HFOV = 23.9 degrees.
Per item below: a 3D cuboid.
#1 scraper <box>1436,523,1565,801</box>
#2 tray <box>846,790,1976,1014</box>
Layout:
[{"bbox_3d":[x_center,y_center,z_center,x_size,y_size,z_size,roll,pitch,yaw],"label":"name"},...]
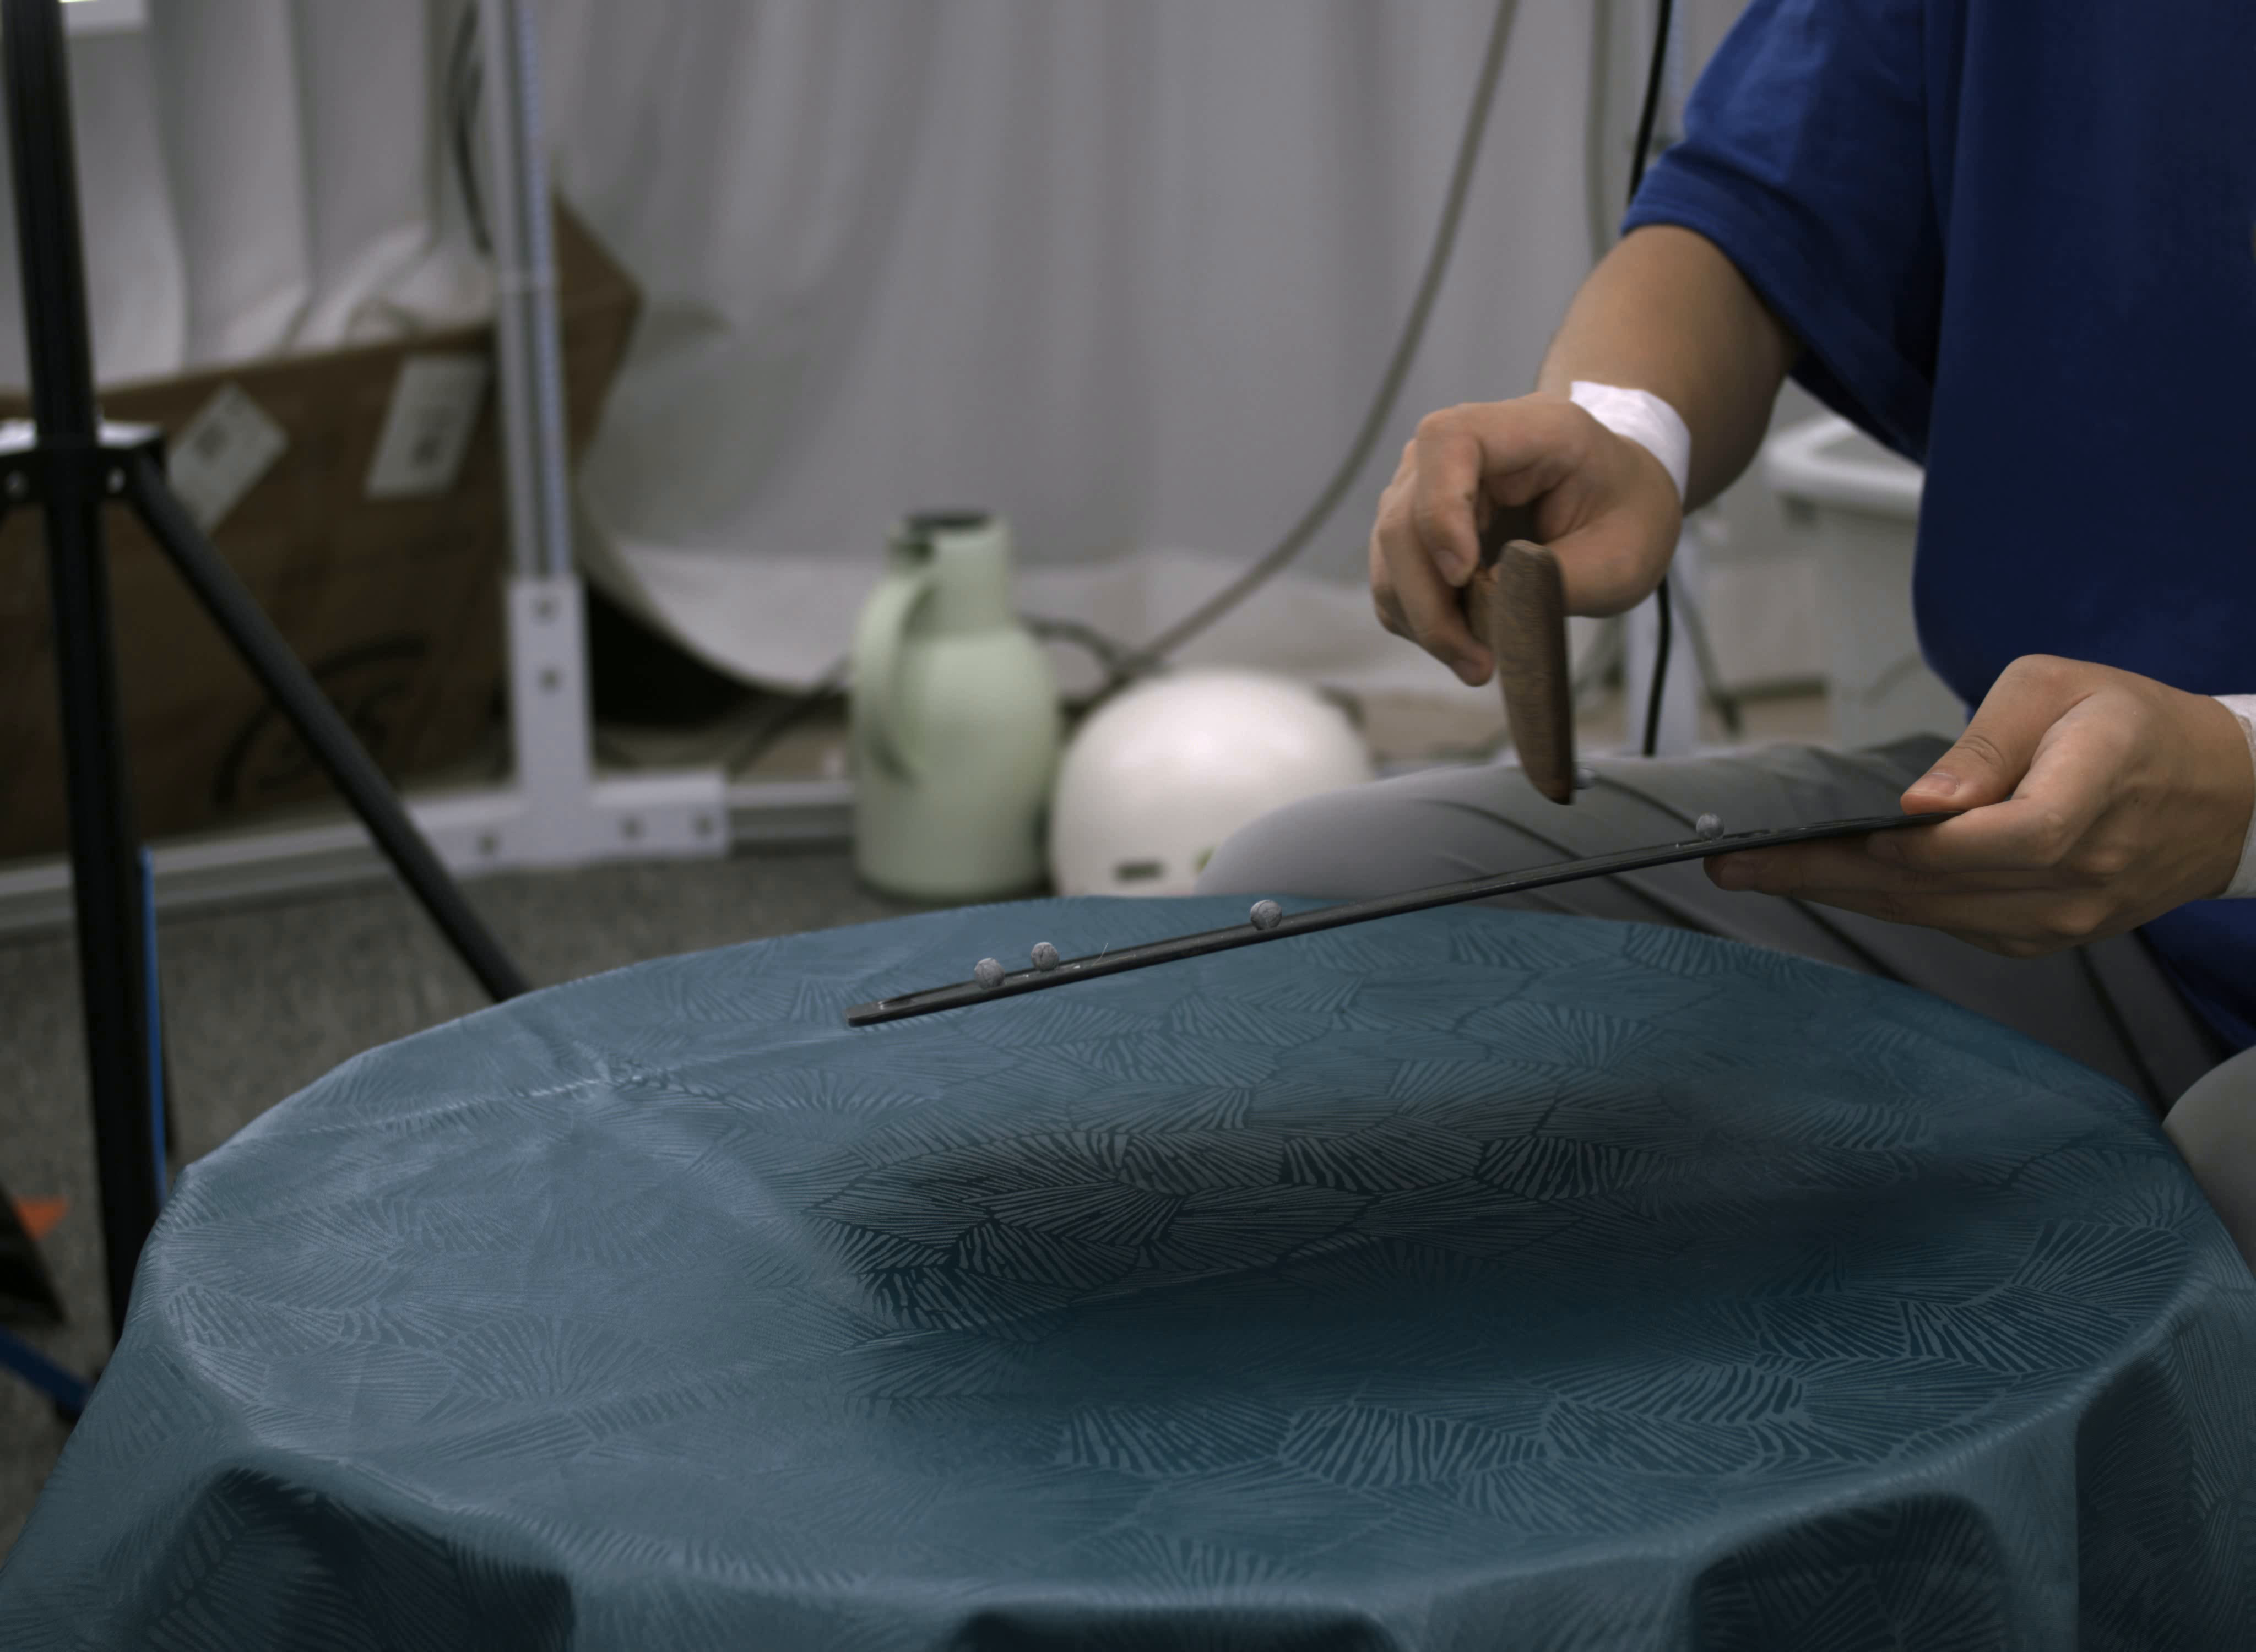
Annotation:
[{"bbox_3d":[0.107,-0.061,1.575,0.011,0.076,0.212,-6,11,-3],"label":"scraper"},{"bbox_3d":[0.079,0.020,1.512,0.323,0.010,0.211,-10,0,-2],"label":"tray"}]
